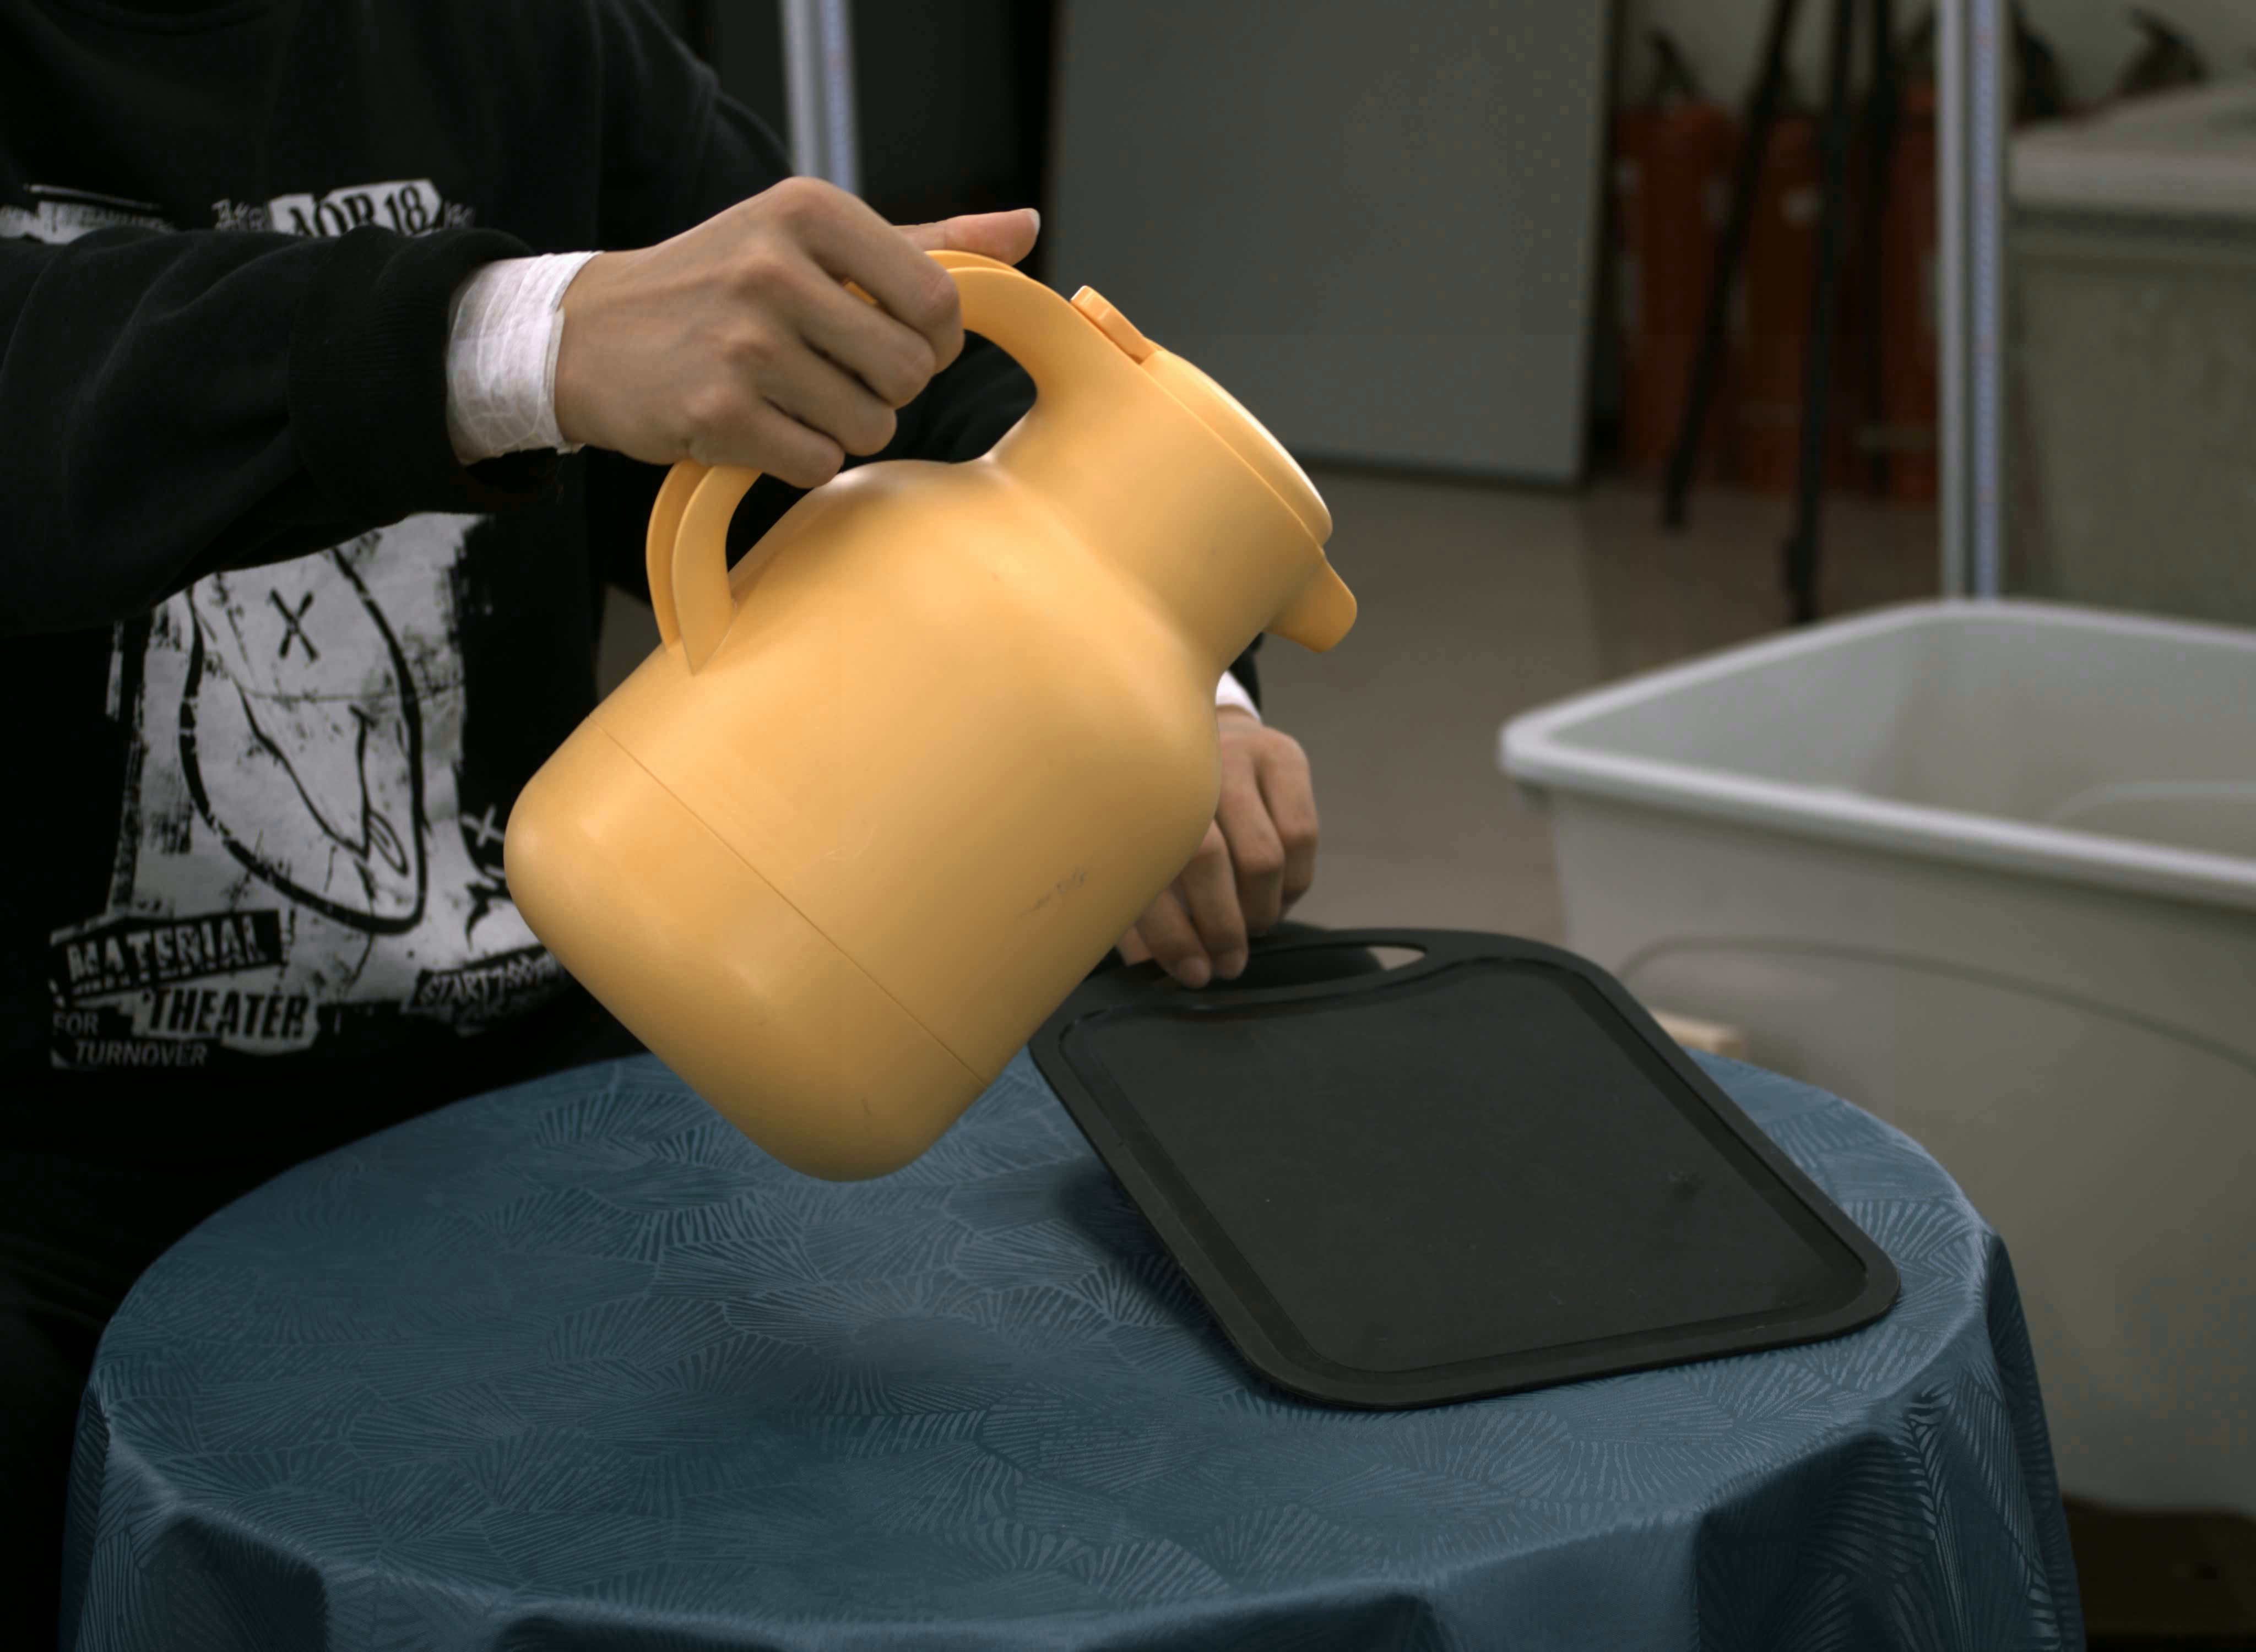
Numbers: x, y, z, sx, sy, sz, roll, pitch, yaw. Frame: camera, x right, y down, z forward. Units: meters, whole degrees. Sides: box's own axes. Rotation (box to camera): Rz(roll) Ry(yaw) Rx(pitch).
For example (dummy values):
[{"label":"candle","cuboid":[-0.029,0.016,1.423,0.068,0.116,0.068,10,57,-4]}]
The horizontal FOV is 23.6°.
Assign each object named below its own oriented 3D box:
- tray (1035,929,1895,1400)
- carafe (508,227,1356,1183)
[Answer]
[{"label":"tray","cuboid":[0.097,0.098,1.716,0.207,0.010,0.328,-7,24,-15]},{"label":"carafe","cuboid":[-0.066,-0.044,1.598,0.260,0.200,0.165,-48,25,-4]}]
